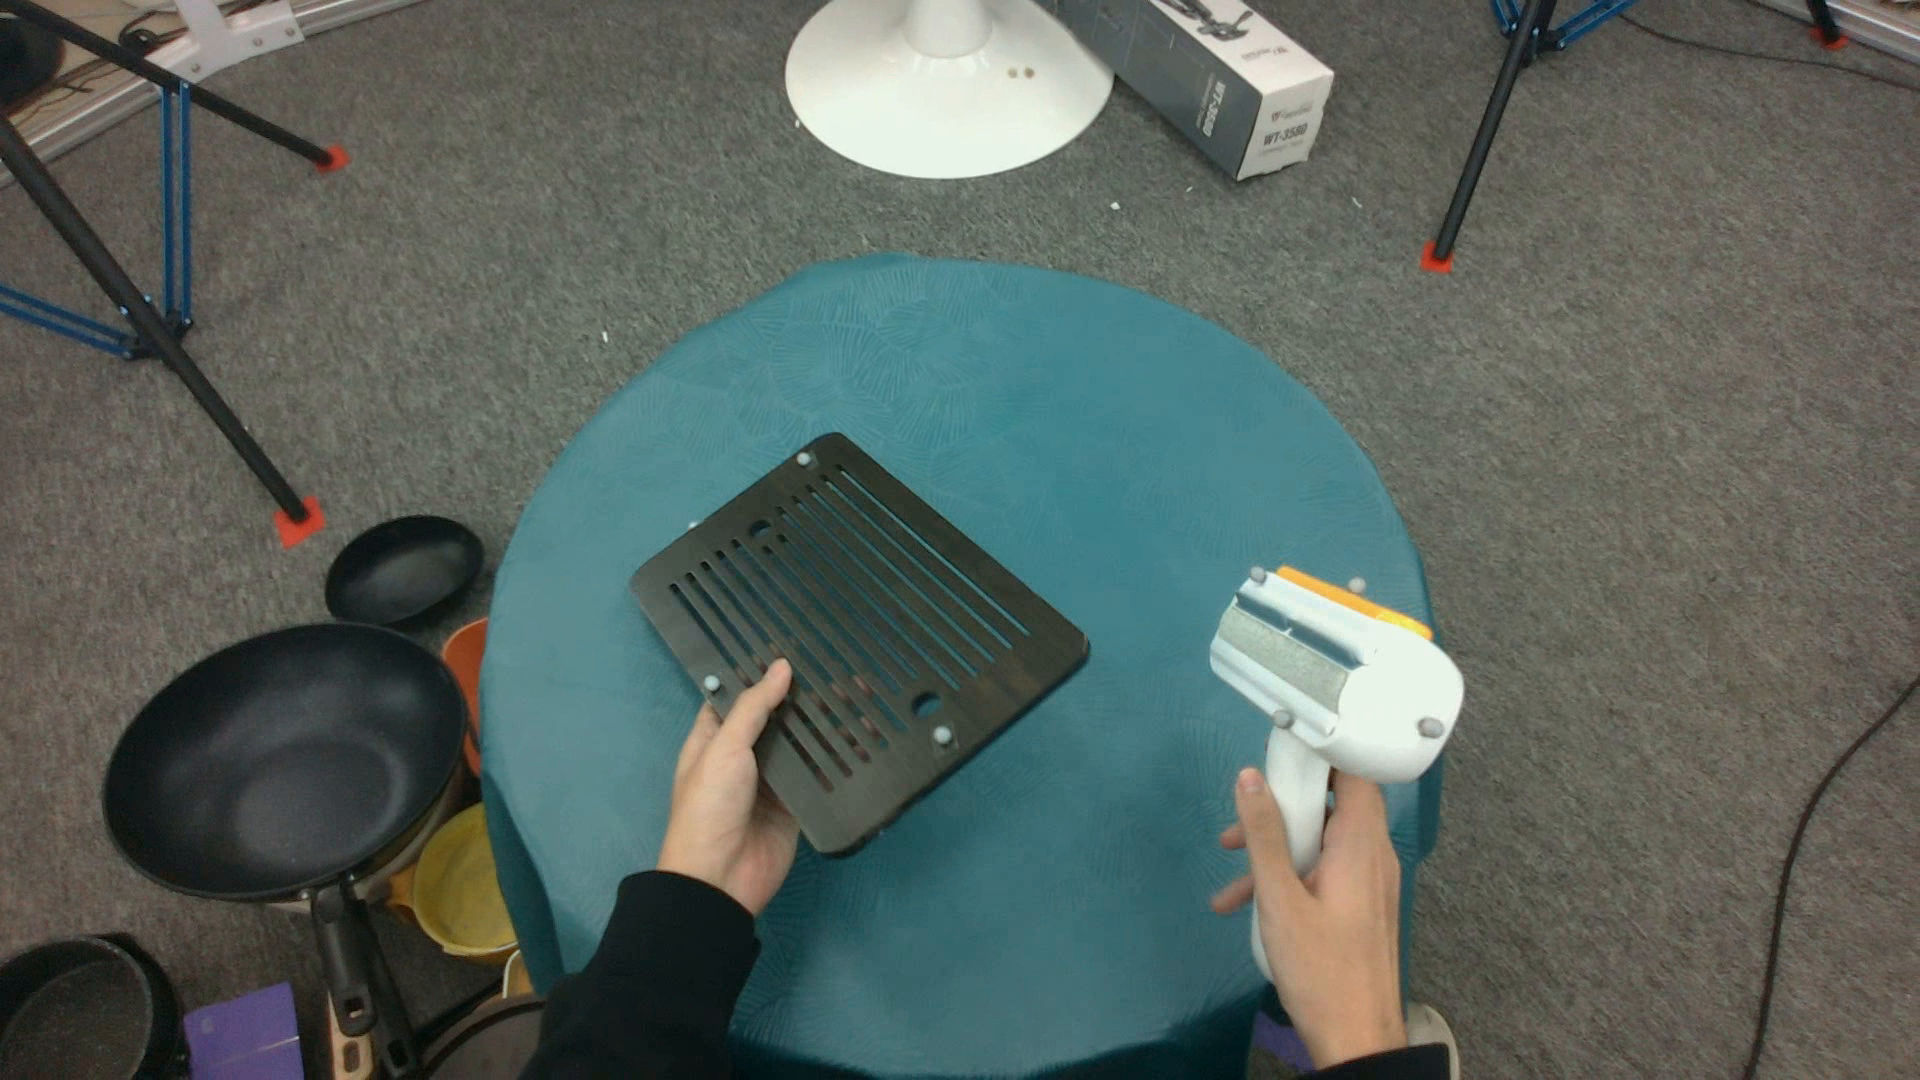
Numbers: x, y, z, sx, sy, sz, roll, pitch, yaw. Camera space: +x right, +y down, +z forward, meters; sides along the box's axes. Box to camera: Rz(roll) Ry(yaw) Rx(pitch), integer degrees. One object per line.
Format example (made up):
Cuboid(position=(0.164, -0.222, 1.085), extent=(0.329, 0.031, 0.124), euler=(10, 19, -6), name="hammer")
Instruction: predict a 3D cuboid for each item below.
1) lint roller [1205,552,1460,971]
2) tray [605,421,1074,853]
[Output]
Cuboid(position=(0.155, 0.112, 0.656), extent=(0.074, 0.193, 0.192), euler=(17, 99, -13), name="lint roller")
Cuboid(position=(-0.081, 0.039, 0.777), extent=(0.170, 0.018, 0.306), euler=(-38, 41, -11), name="tray")
